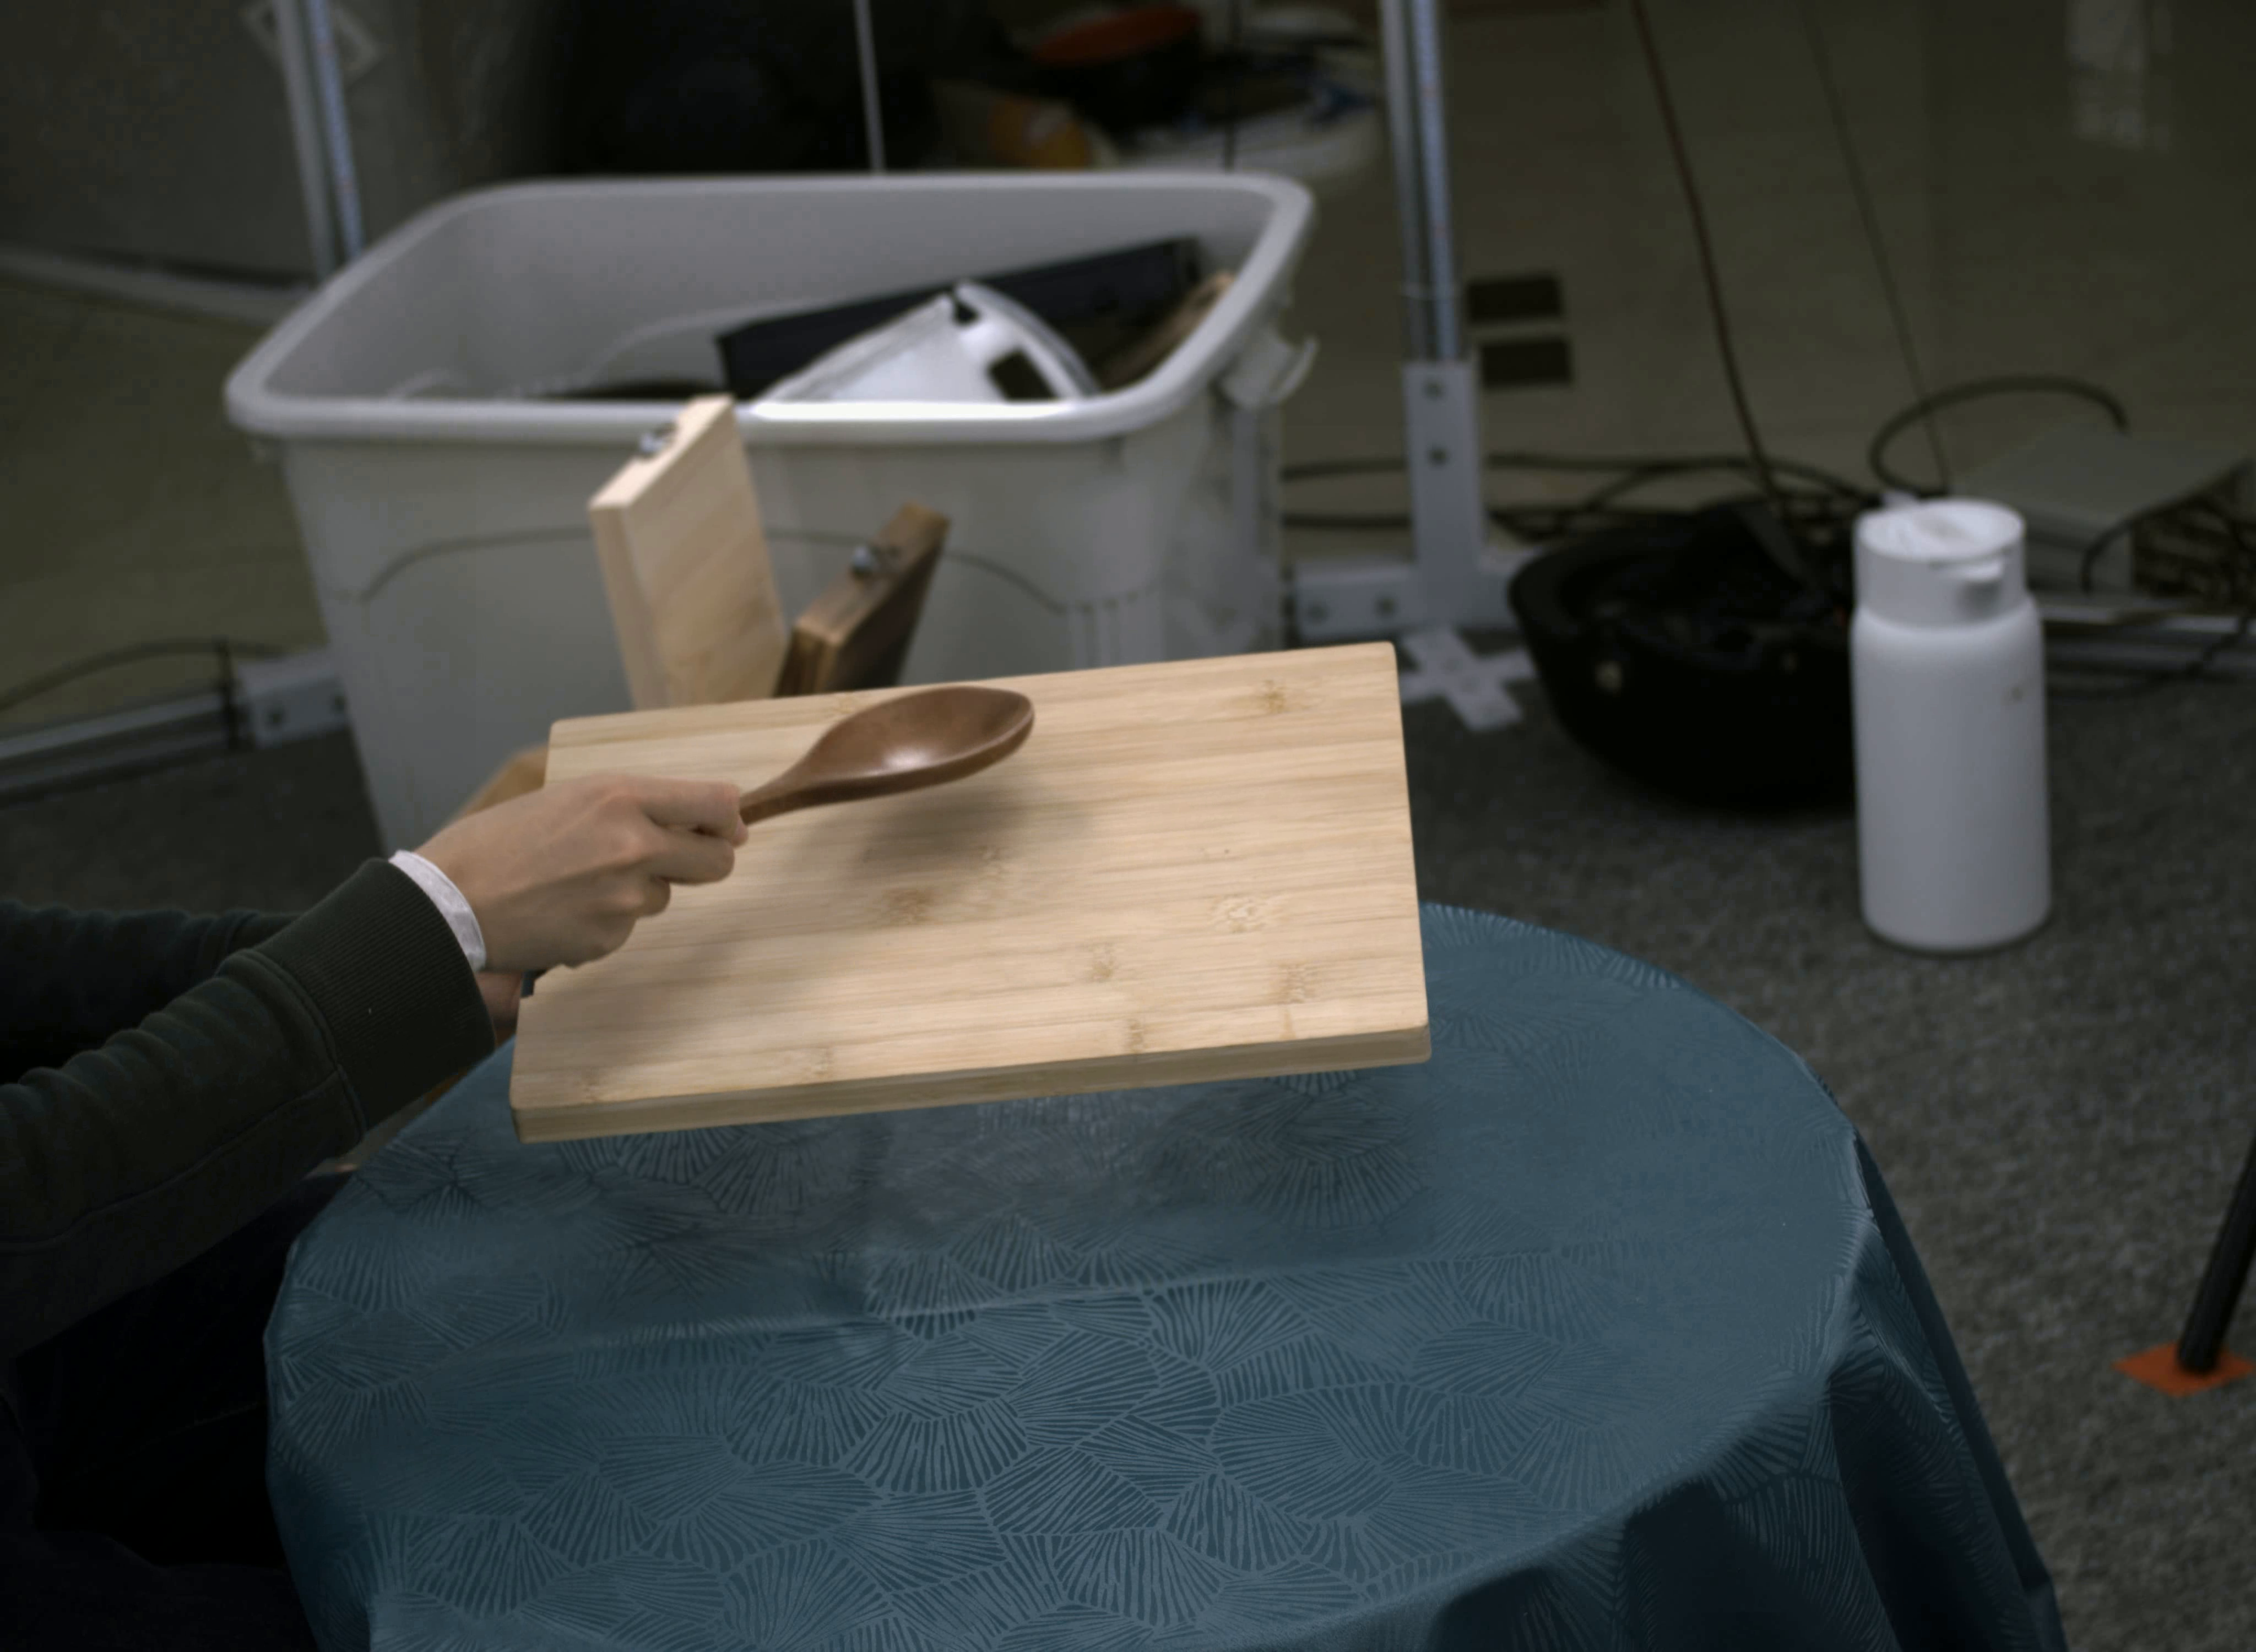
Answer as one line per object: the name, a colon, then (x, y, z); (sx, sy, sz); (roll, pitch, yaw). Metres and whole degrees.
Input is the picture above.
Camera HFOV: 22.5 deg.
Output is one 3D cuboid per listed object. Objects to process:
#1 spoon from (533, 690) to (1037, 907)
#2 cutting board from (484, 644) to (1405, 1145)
spoon: (-0.129, -0.009, 2.132); (0.214, 0.017, 0.075); (-21, 29, -28)
cutting board: (-0.066, 0.023, 2.170); (0.348, 0.024, 0.246); (-6, 38, 2)
